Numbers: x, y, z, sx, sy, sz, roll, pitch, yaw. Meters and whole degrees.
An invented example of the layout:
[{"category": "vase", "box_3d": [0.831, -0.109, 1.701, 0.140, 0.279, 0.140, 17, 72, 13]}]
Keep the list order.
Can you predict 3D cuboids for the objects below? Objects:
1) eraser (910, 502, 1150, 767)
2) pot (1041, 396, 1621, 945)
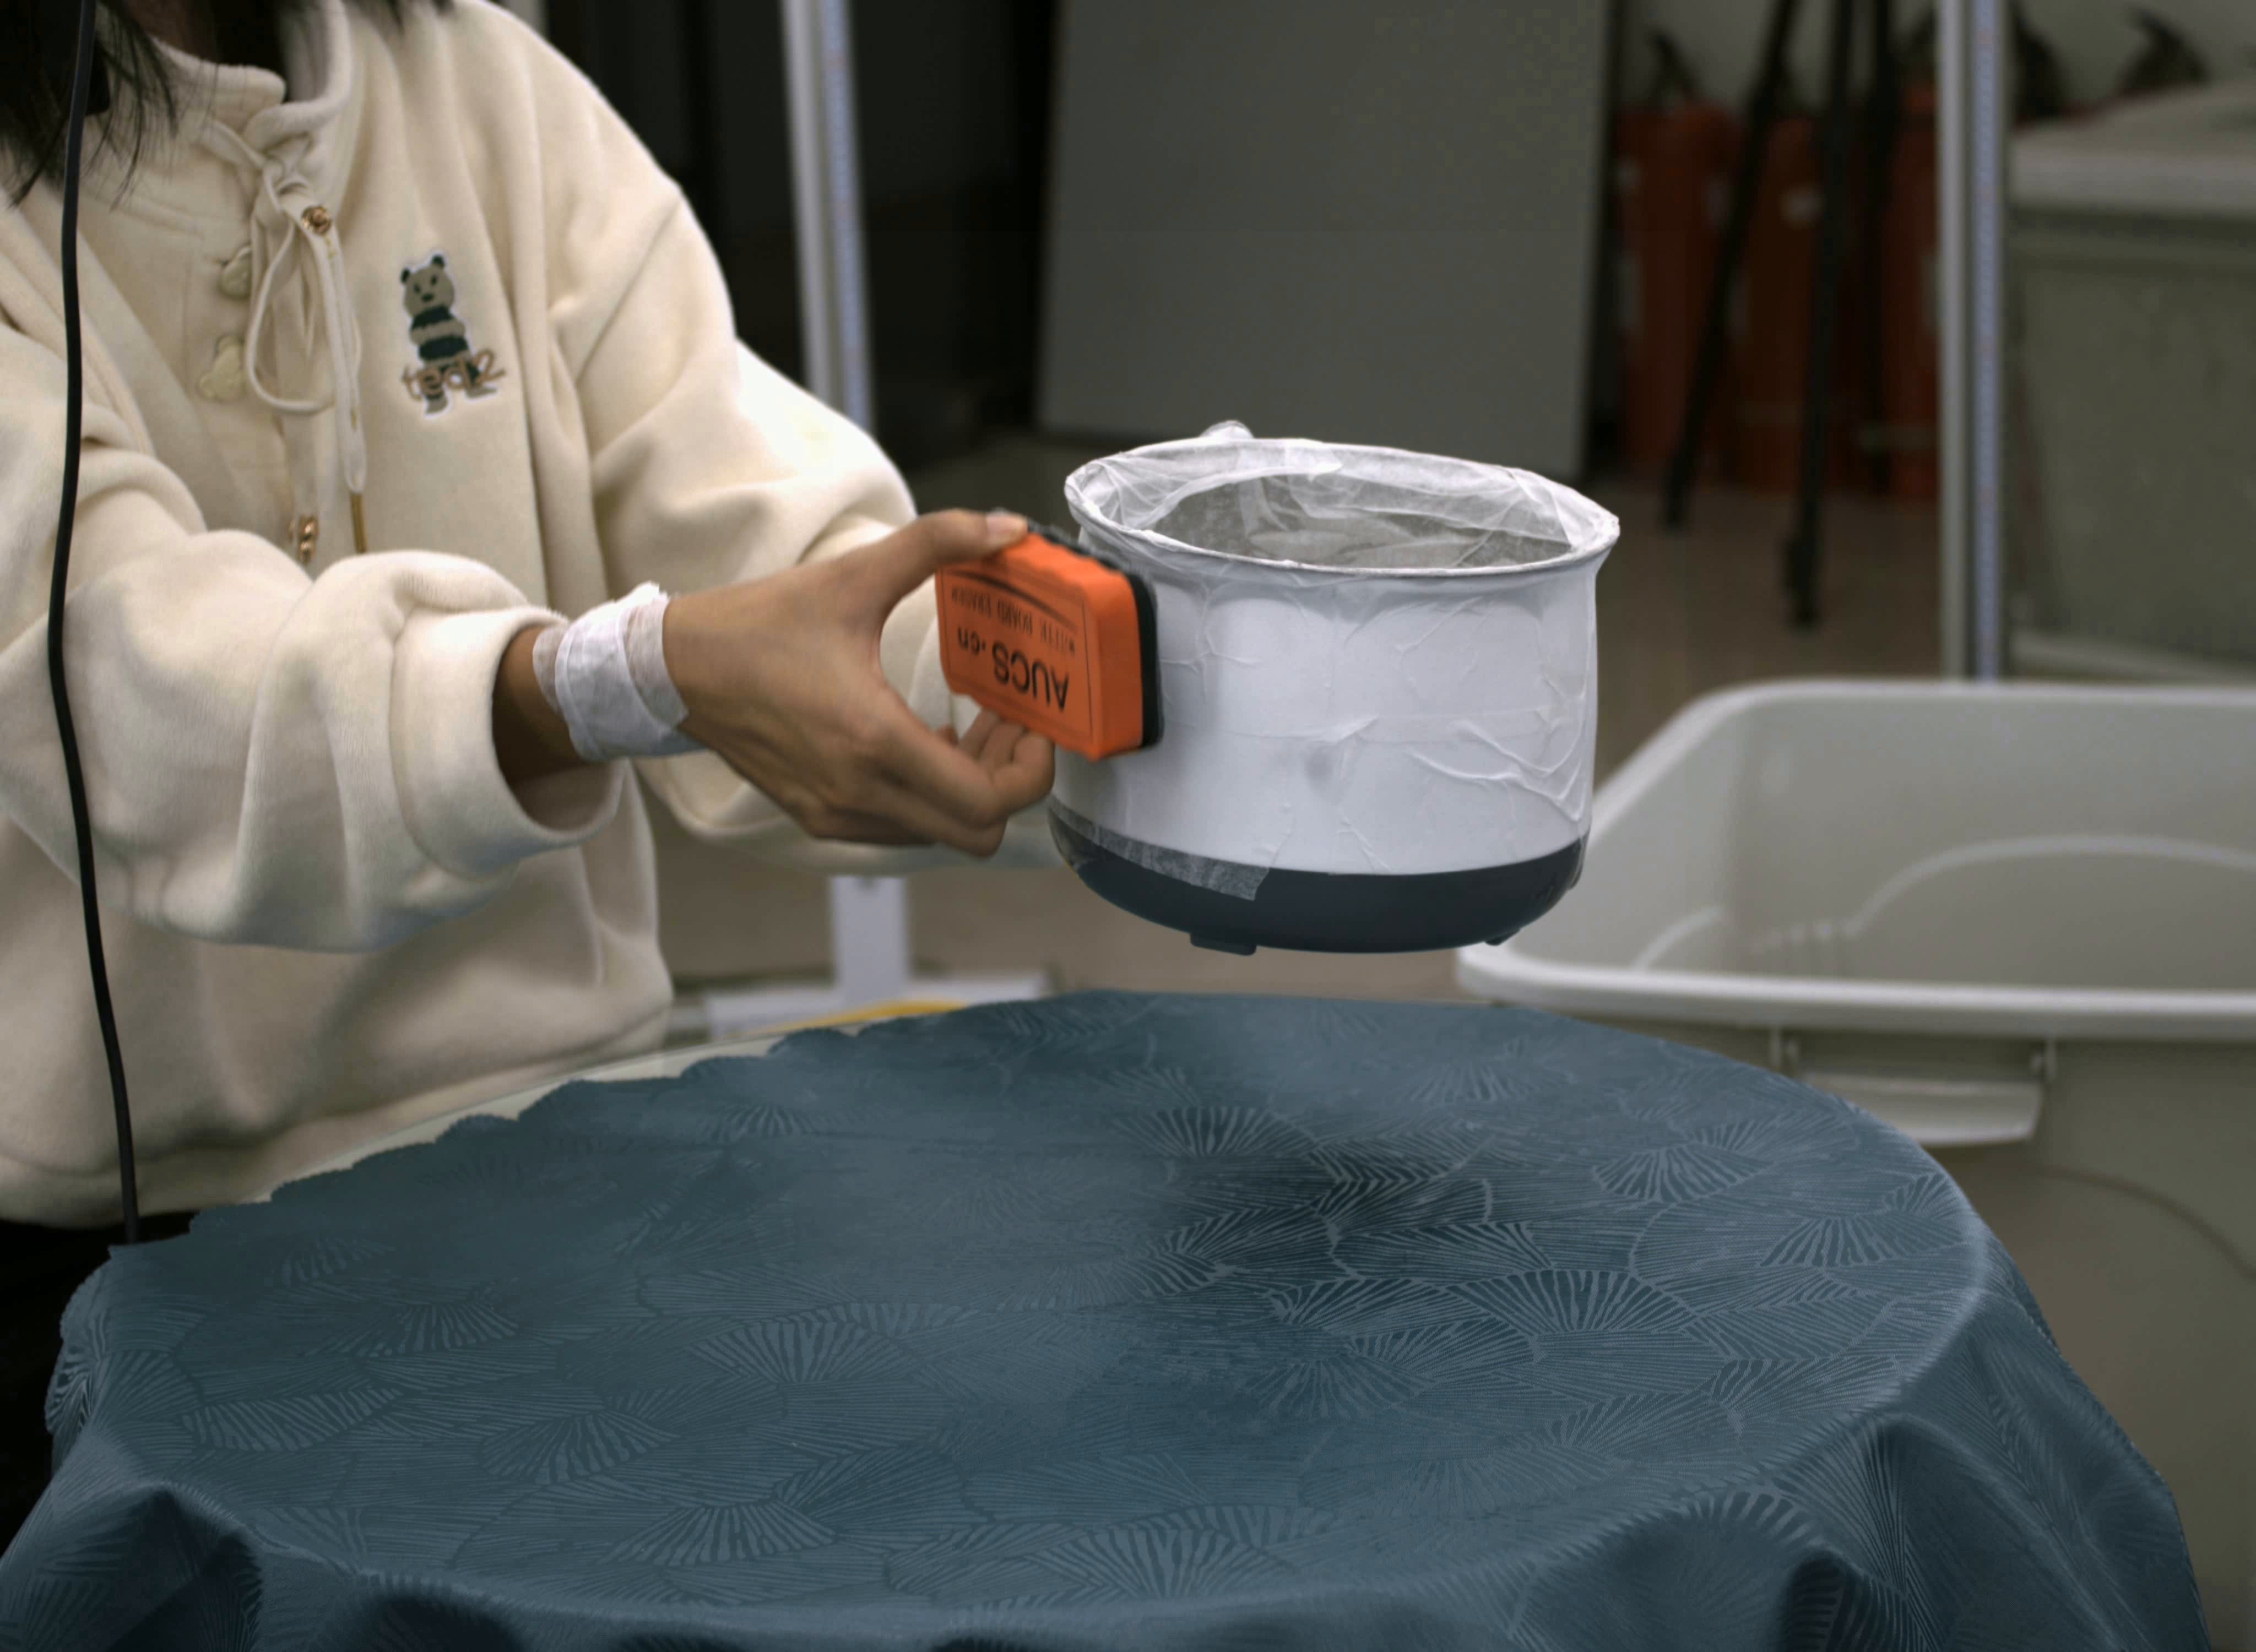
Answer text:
[{"category": "eraser", "box_3d": [-0.031, -0.059, 1.653, 0.022, 0.059, 0.109, -16, 23, -26]}, {"category": "pot", "box_3d": [0.052, -0.054, 1.735, 0.175, 0.138, 0.236, -1, 17, -21]}]
